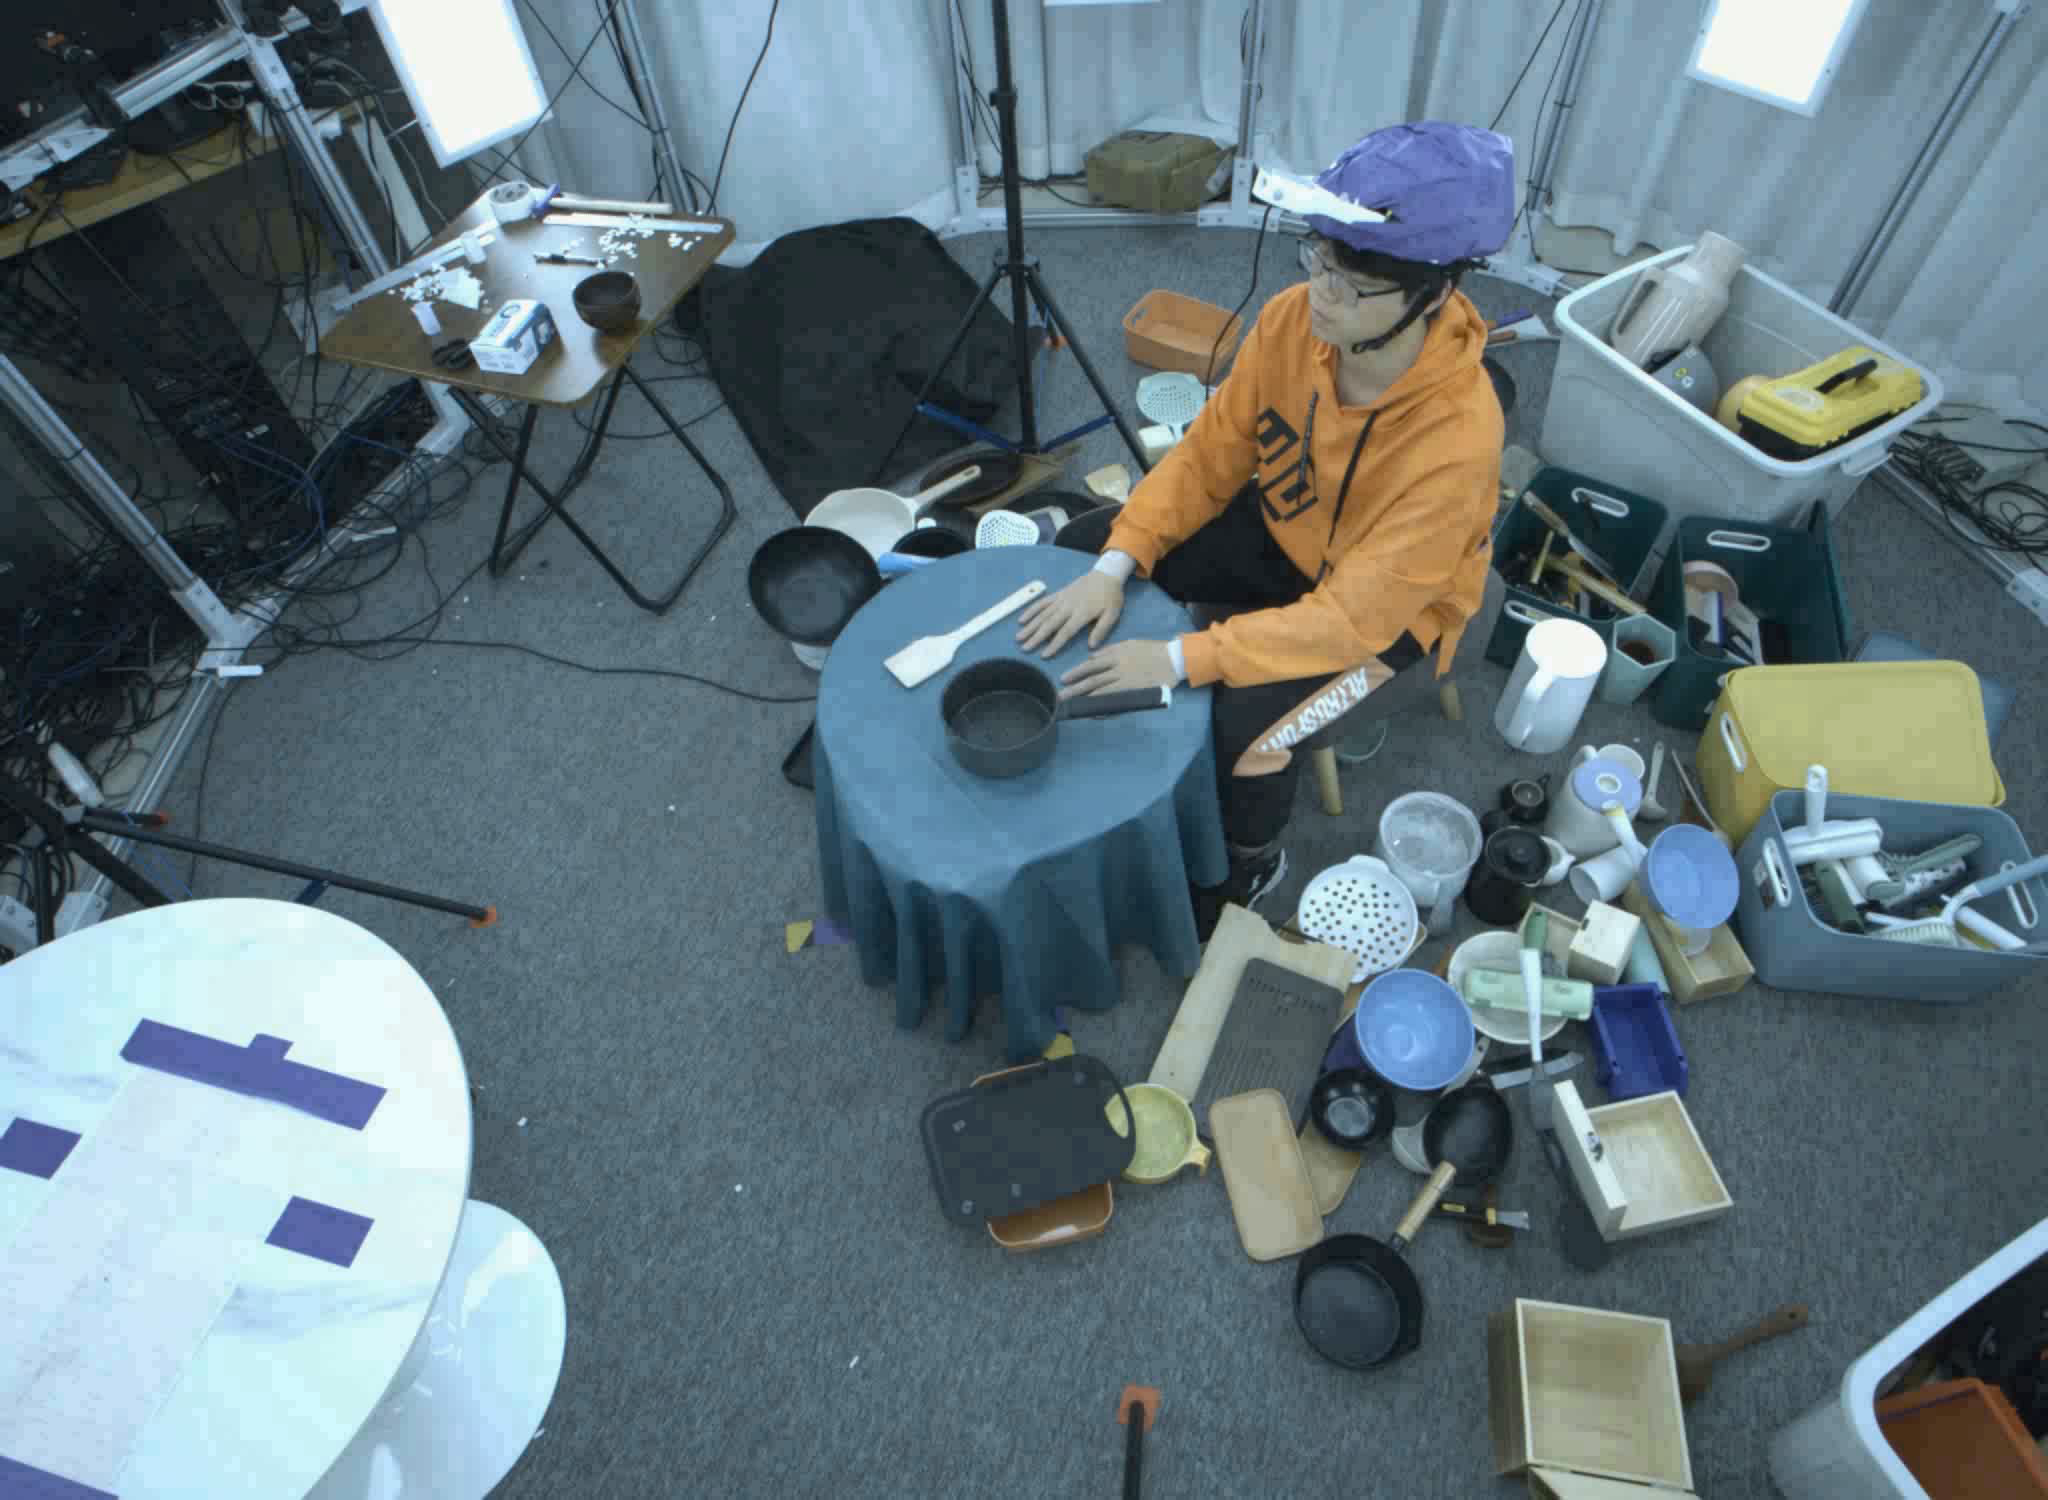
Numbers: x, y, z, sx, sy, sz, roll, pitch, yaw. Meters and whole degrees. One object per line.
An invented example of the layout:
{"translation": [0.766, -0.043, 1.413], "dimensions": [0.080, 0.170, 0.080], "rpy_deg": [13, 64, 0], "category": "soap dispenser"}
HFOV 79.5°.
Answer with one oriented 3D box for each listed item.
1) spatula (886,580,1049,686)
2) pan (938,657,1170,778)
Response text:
{"translation": [-0.081, -0.192, 1.920], "dimensions": [0.295, 0.011, 0.071], "rpy_deg": [-34, 57, -20], "category": "spatula"}
{"translation": [0.045, -0.048, 1.768], "dimensions": [0.328, 0.087, 0.170], "rpy_deg": [0, 56, 4], "category": "pan"}
